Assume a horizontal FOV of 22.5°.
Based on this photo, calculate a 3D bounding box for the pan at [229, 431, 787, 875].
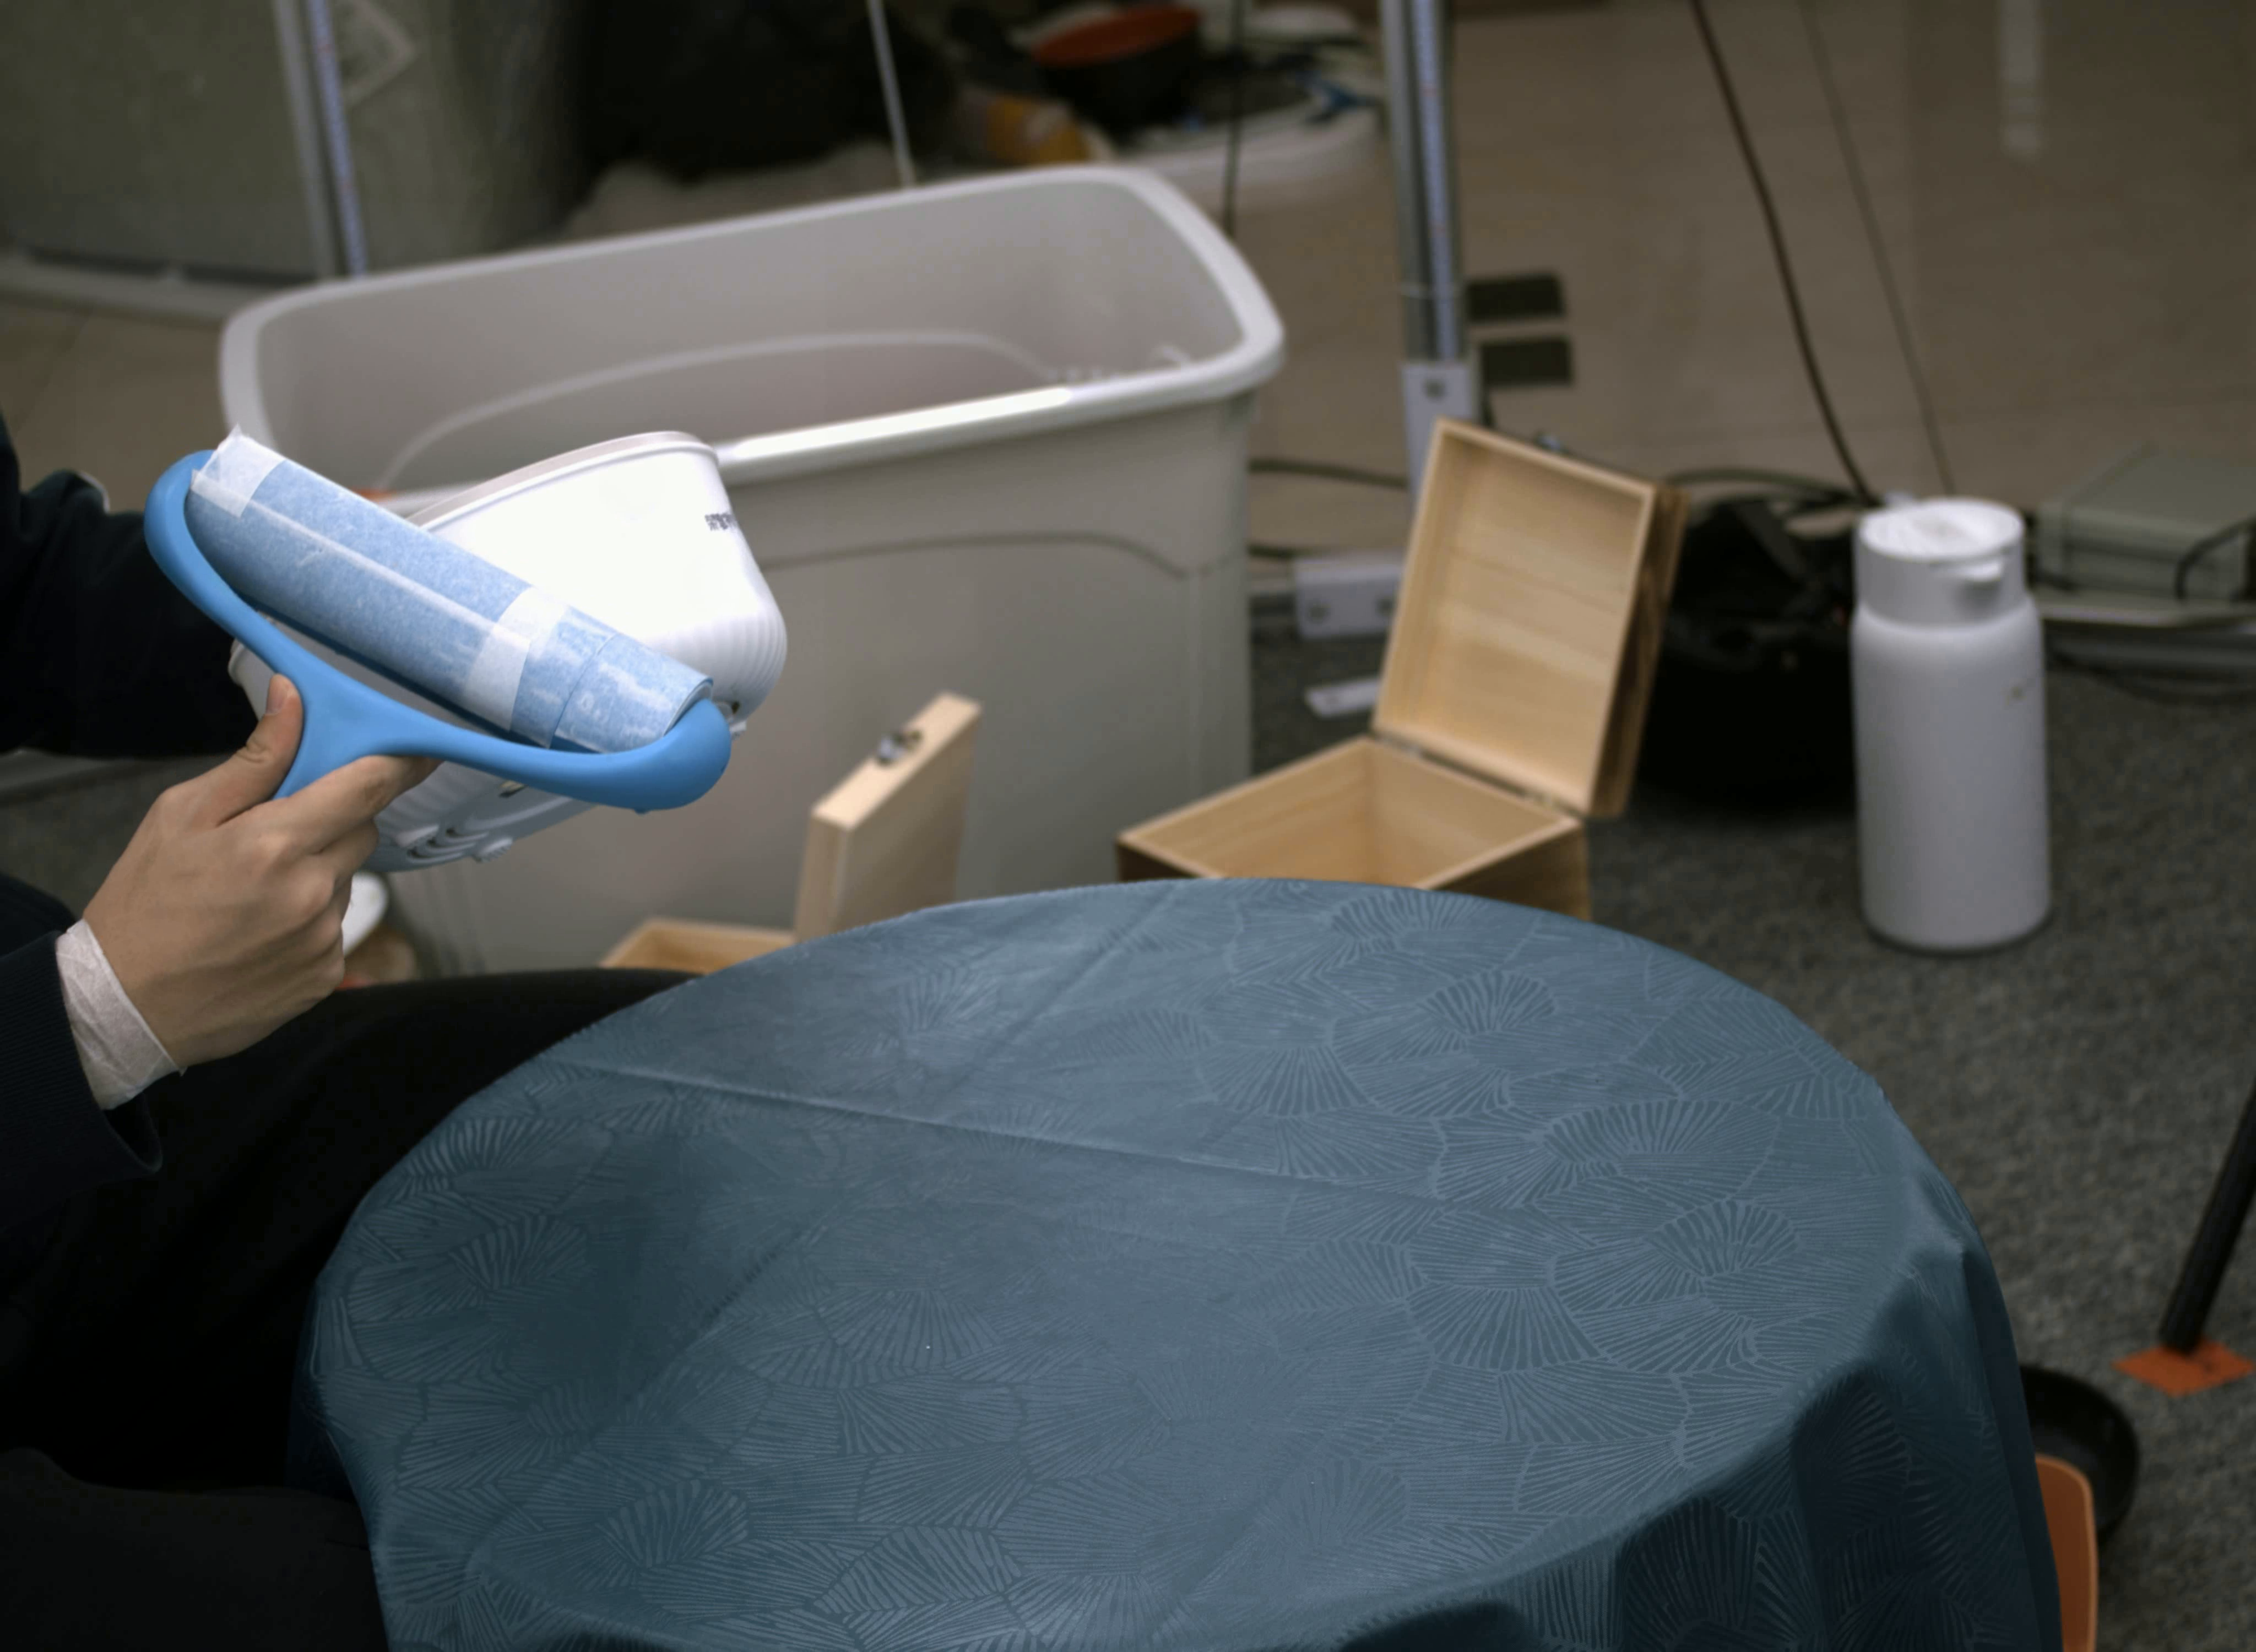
[{"bbox_3d":[-0.214,-0.054,2.198,0.201,0.102,0.355,-27,-7,7],"label":"pan"}]

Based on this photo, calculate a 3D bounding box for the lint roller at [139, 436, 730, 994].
[{"bbox_3d":[-0.269,-0.026,1.977,0.228,0.069,0.178,26,67,4],"label":"lint roller"}]
